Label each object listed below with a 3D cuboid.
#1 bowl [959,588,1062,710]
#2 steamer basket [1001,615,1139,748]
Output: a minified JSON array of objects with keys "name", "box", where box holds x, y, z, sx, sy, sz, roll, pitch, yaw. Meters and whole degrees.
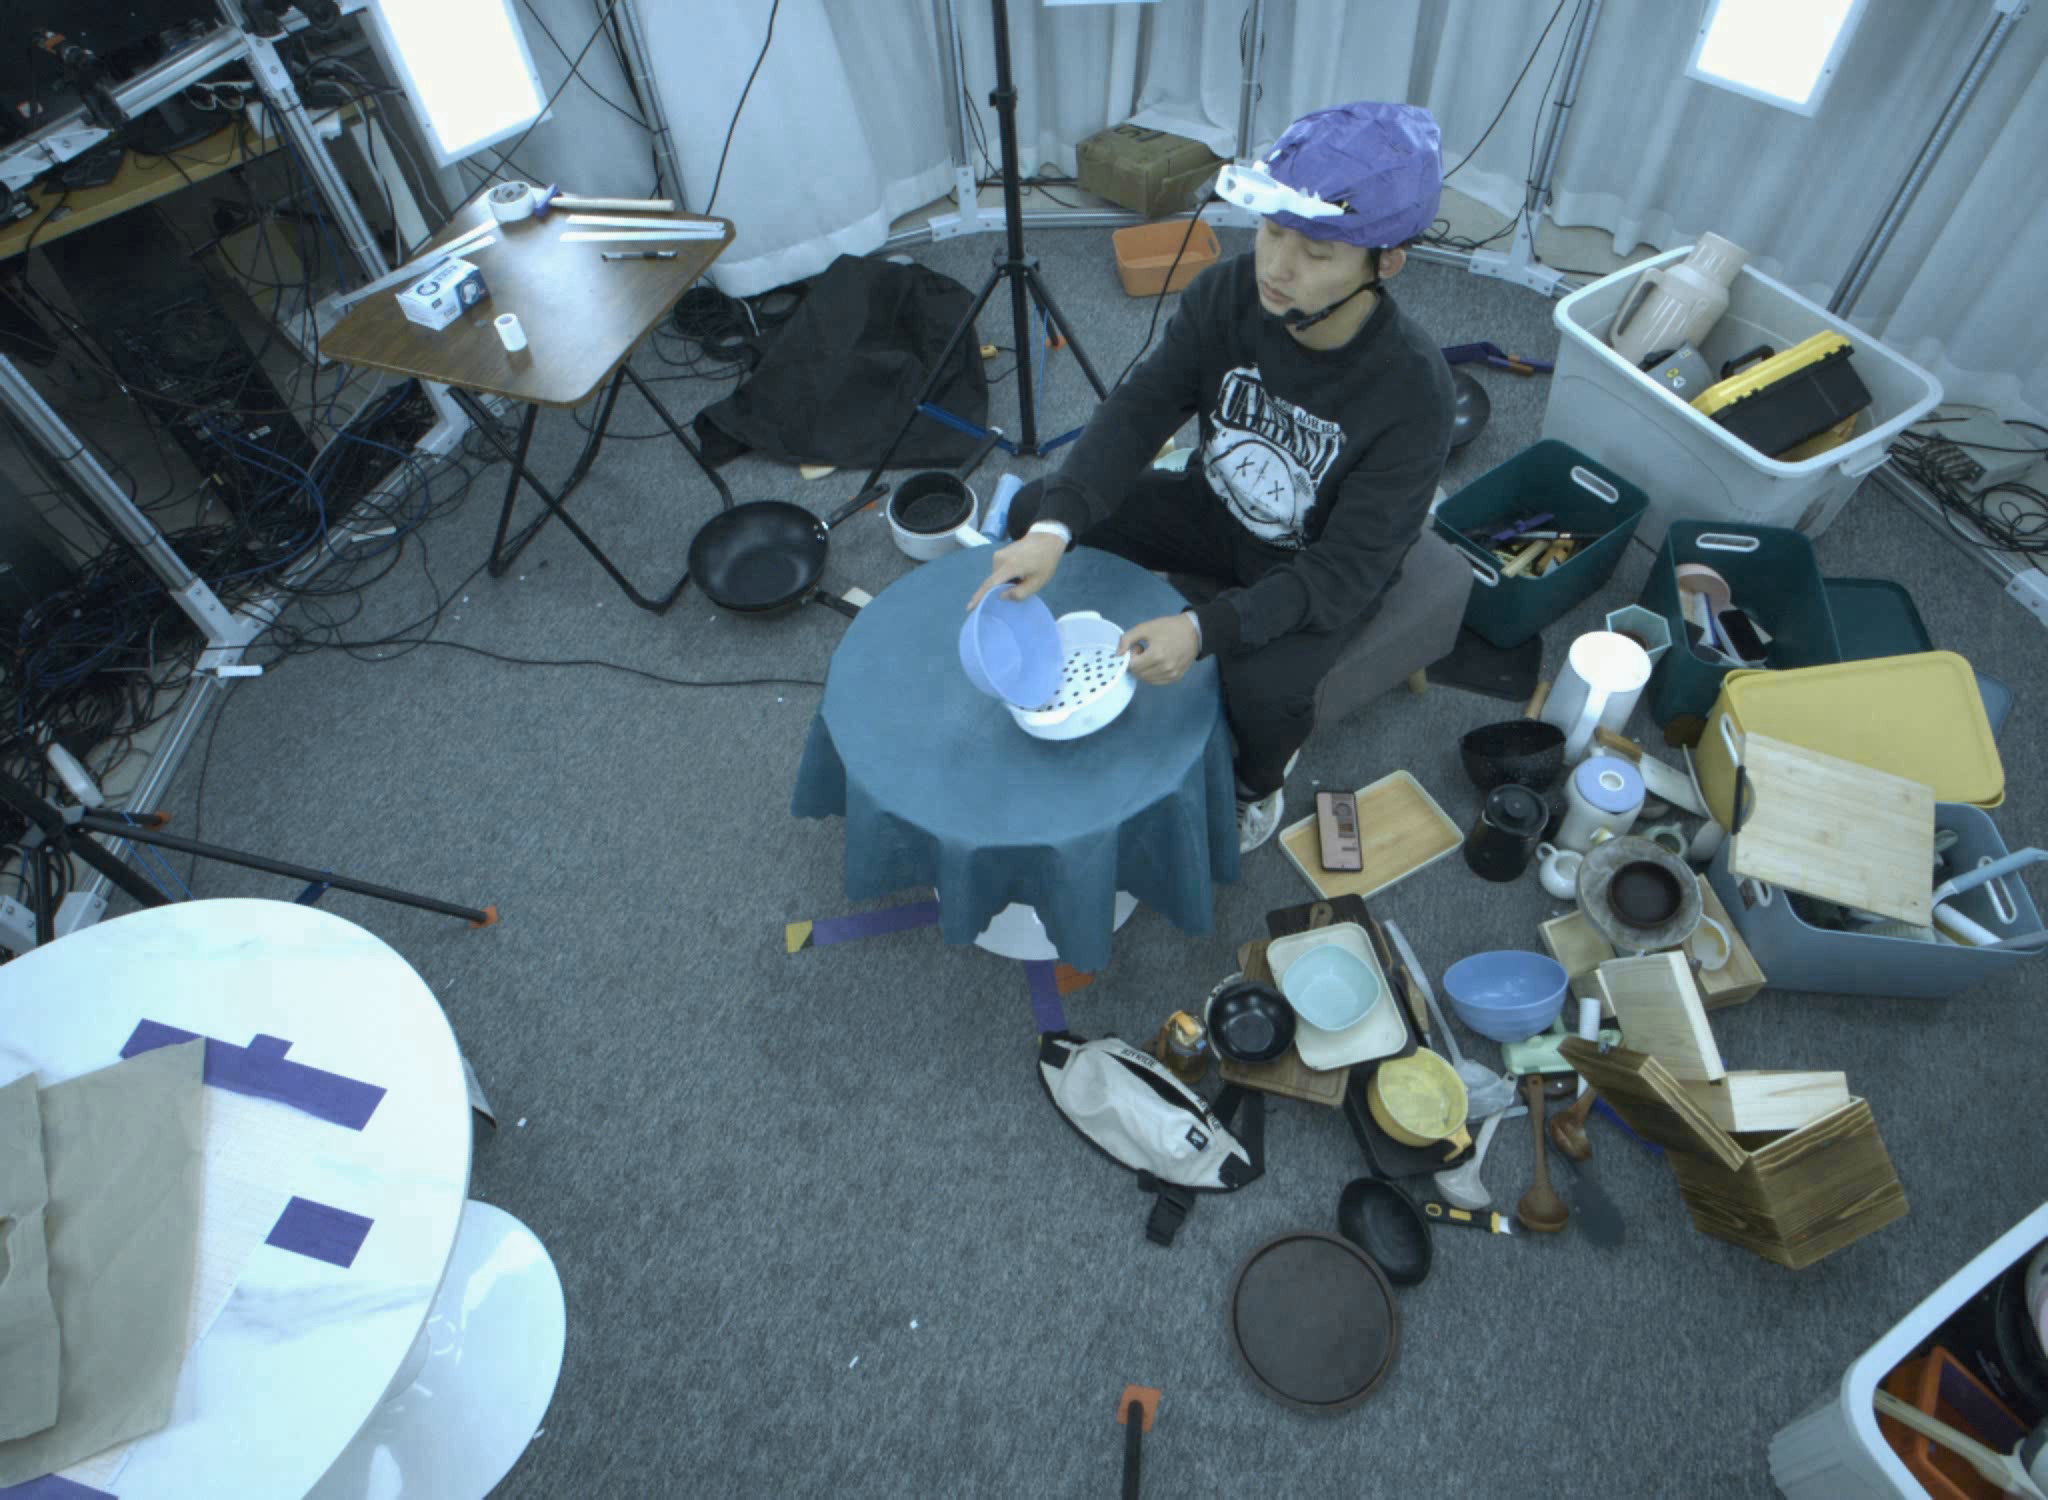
[{"name":"bowl","box":[-0.029,-0.137,1.734,0.069,0.180,0.176,-11,45,42]},{"name":"steamer basket","box":[0.068,-0.095,1.793,0.199,0.070,0.229,-2,51,23]}]
